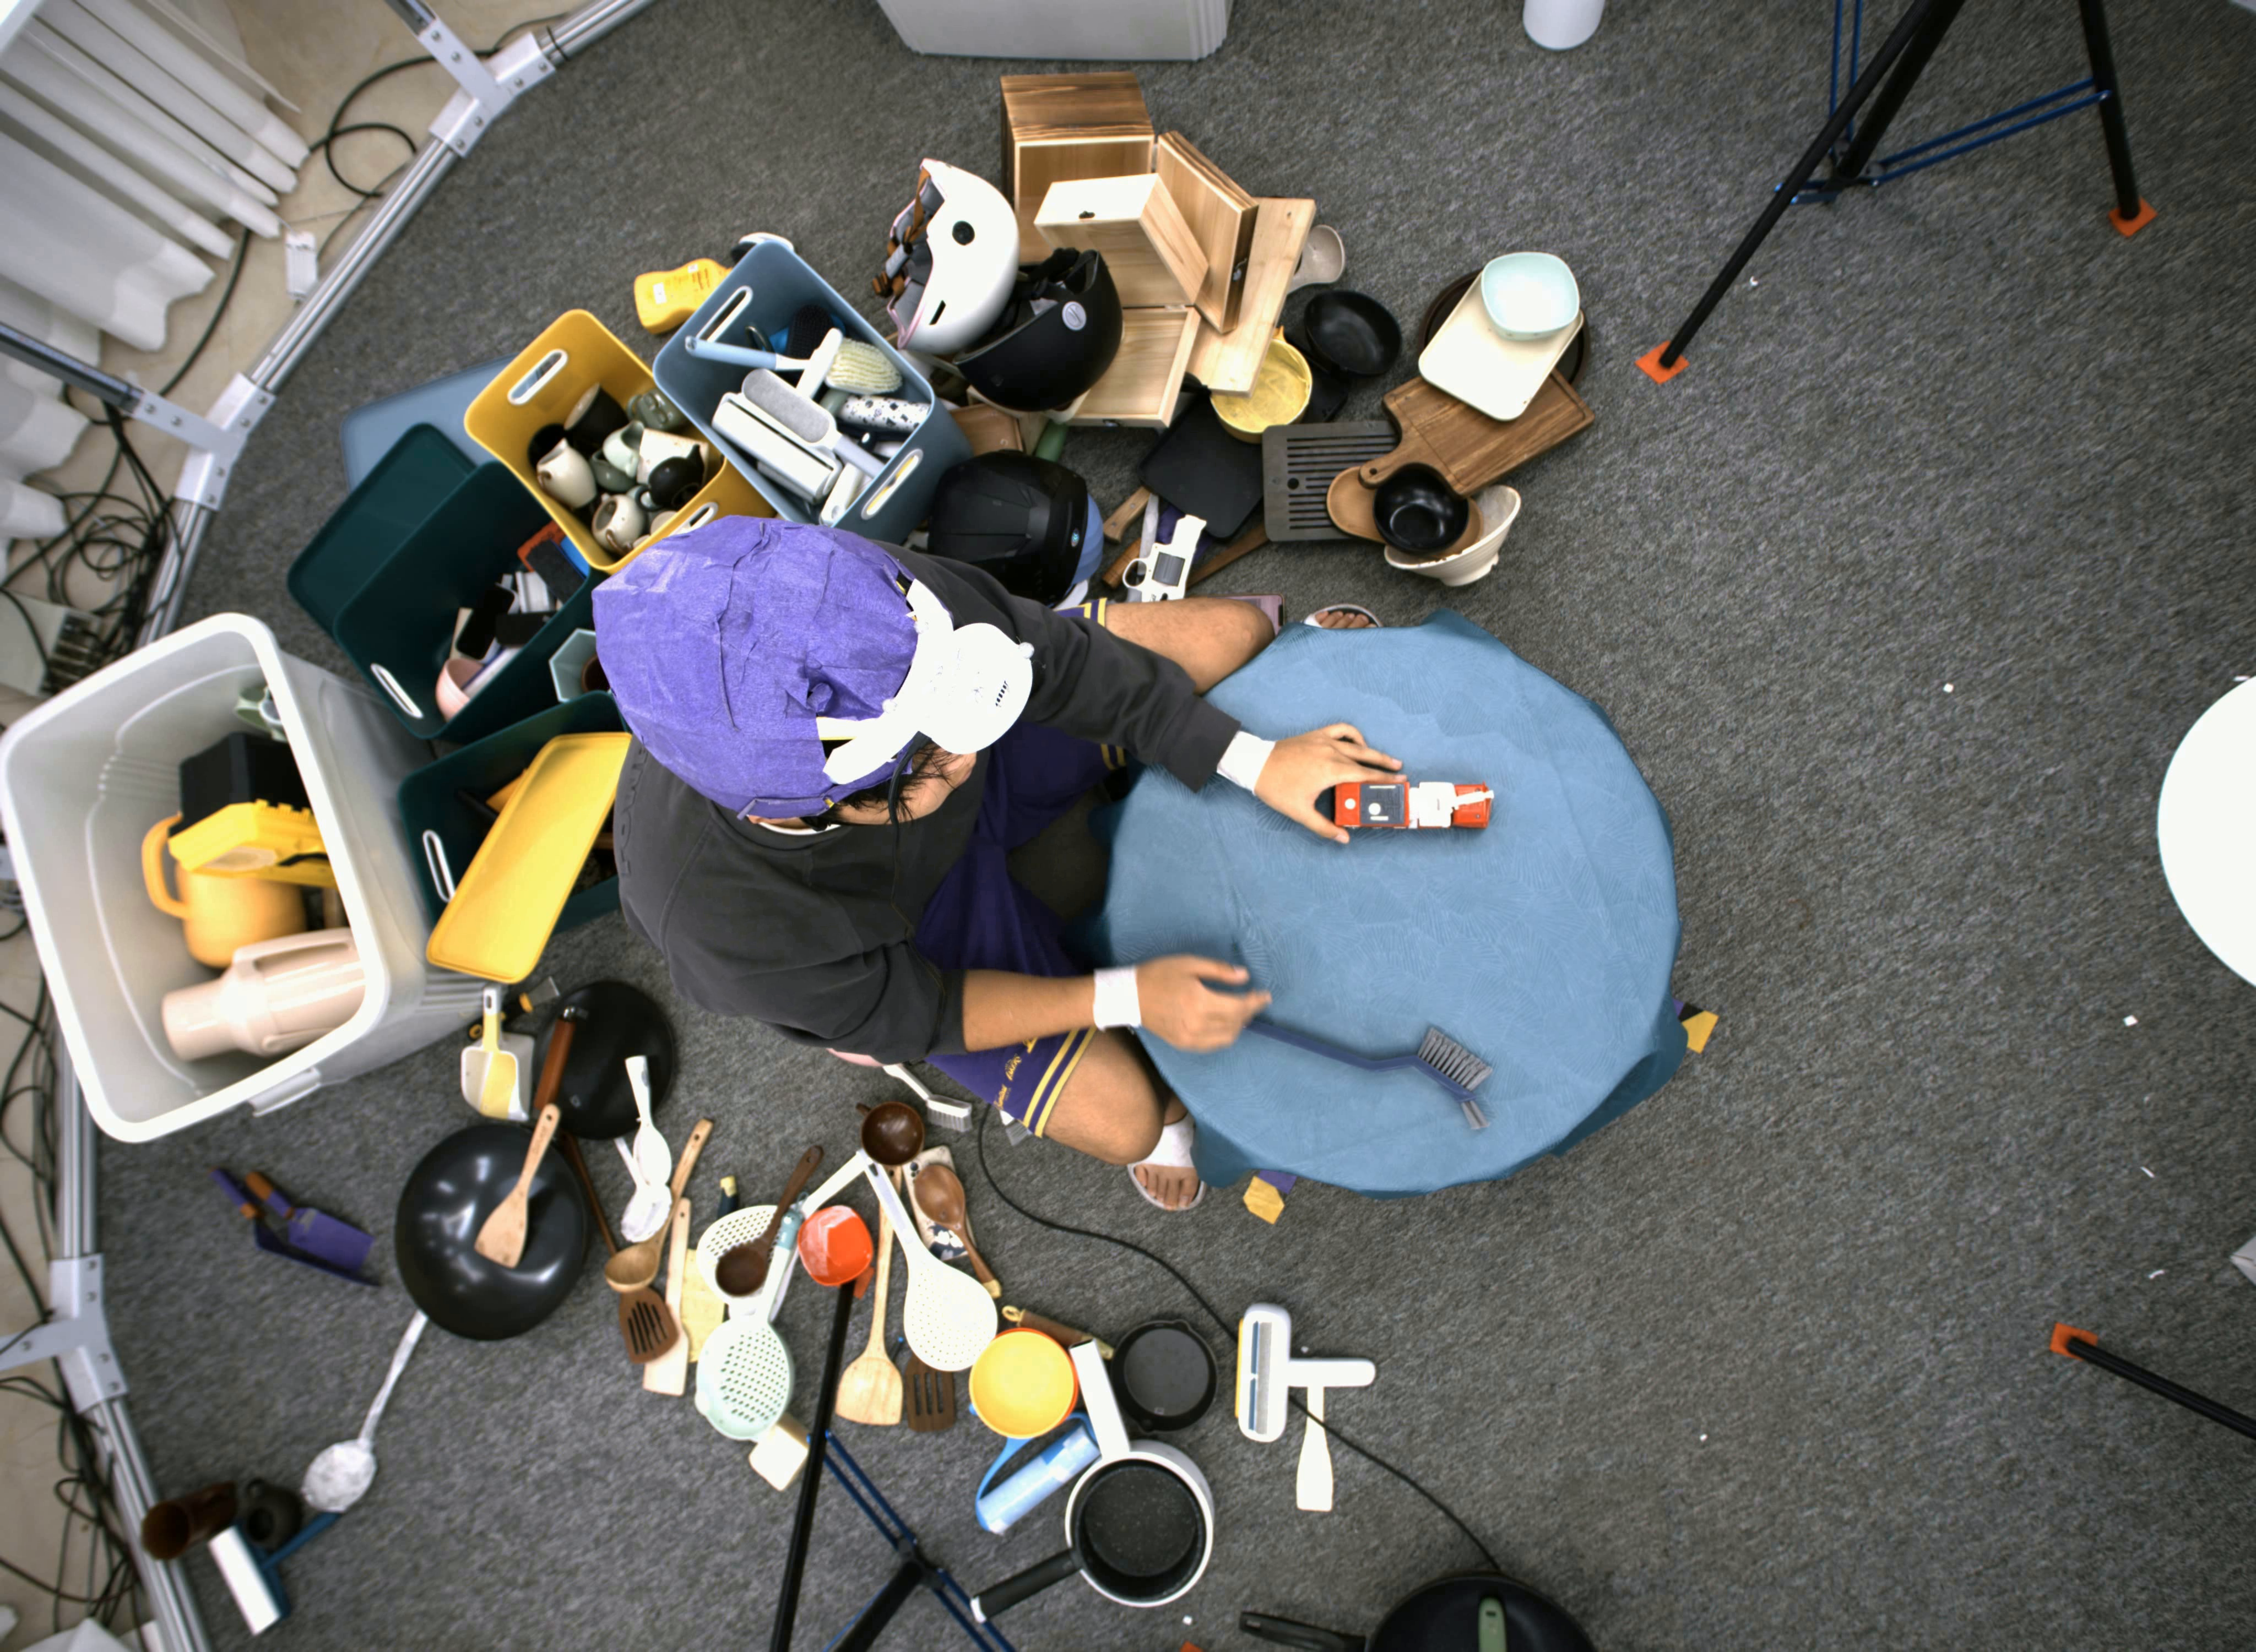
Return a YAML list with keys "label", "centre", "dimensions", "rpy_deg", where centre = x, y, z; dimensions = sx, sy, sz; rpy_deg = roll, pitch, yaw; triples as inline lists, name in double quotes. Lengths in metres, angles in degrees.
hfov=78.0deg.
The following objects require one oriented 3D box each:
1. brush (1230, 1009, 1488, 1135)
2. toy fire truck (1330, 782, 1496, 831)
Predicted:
- label: "brush"
  centre: [0.236, 0.248, 1.440]
  dimensions: [0.274, 0.033, 0.095]
  rpy_deg: [10, 90, 10]
- label: "toy fire truck"
  centre: [0.294, -0.023, 1.430]
  dimensions: [0.168, 0.070, 0.054]
  rpy_deg: [-1, 85, 11]
